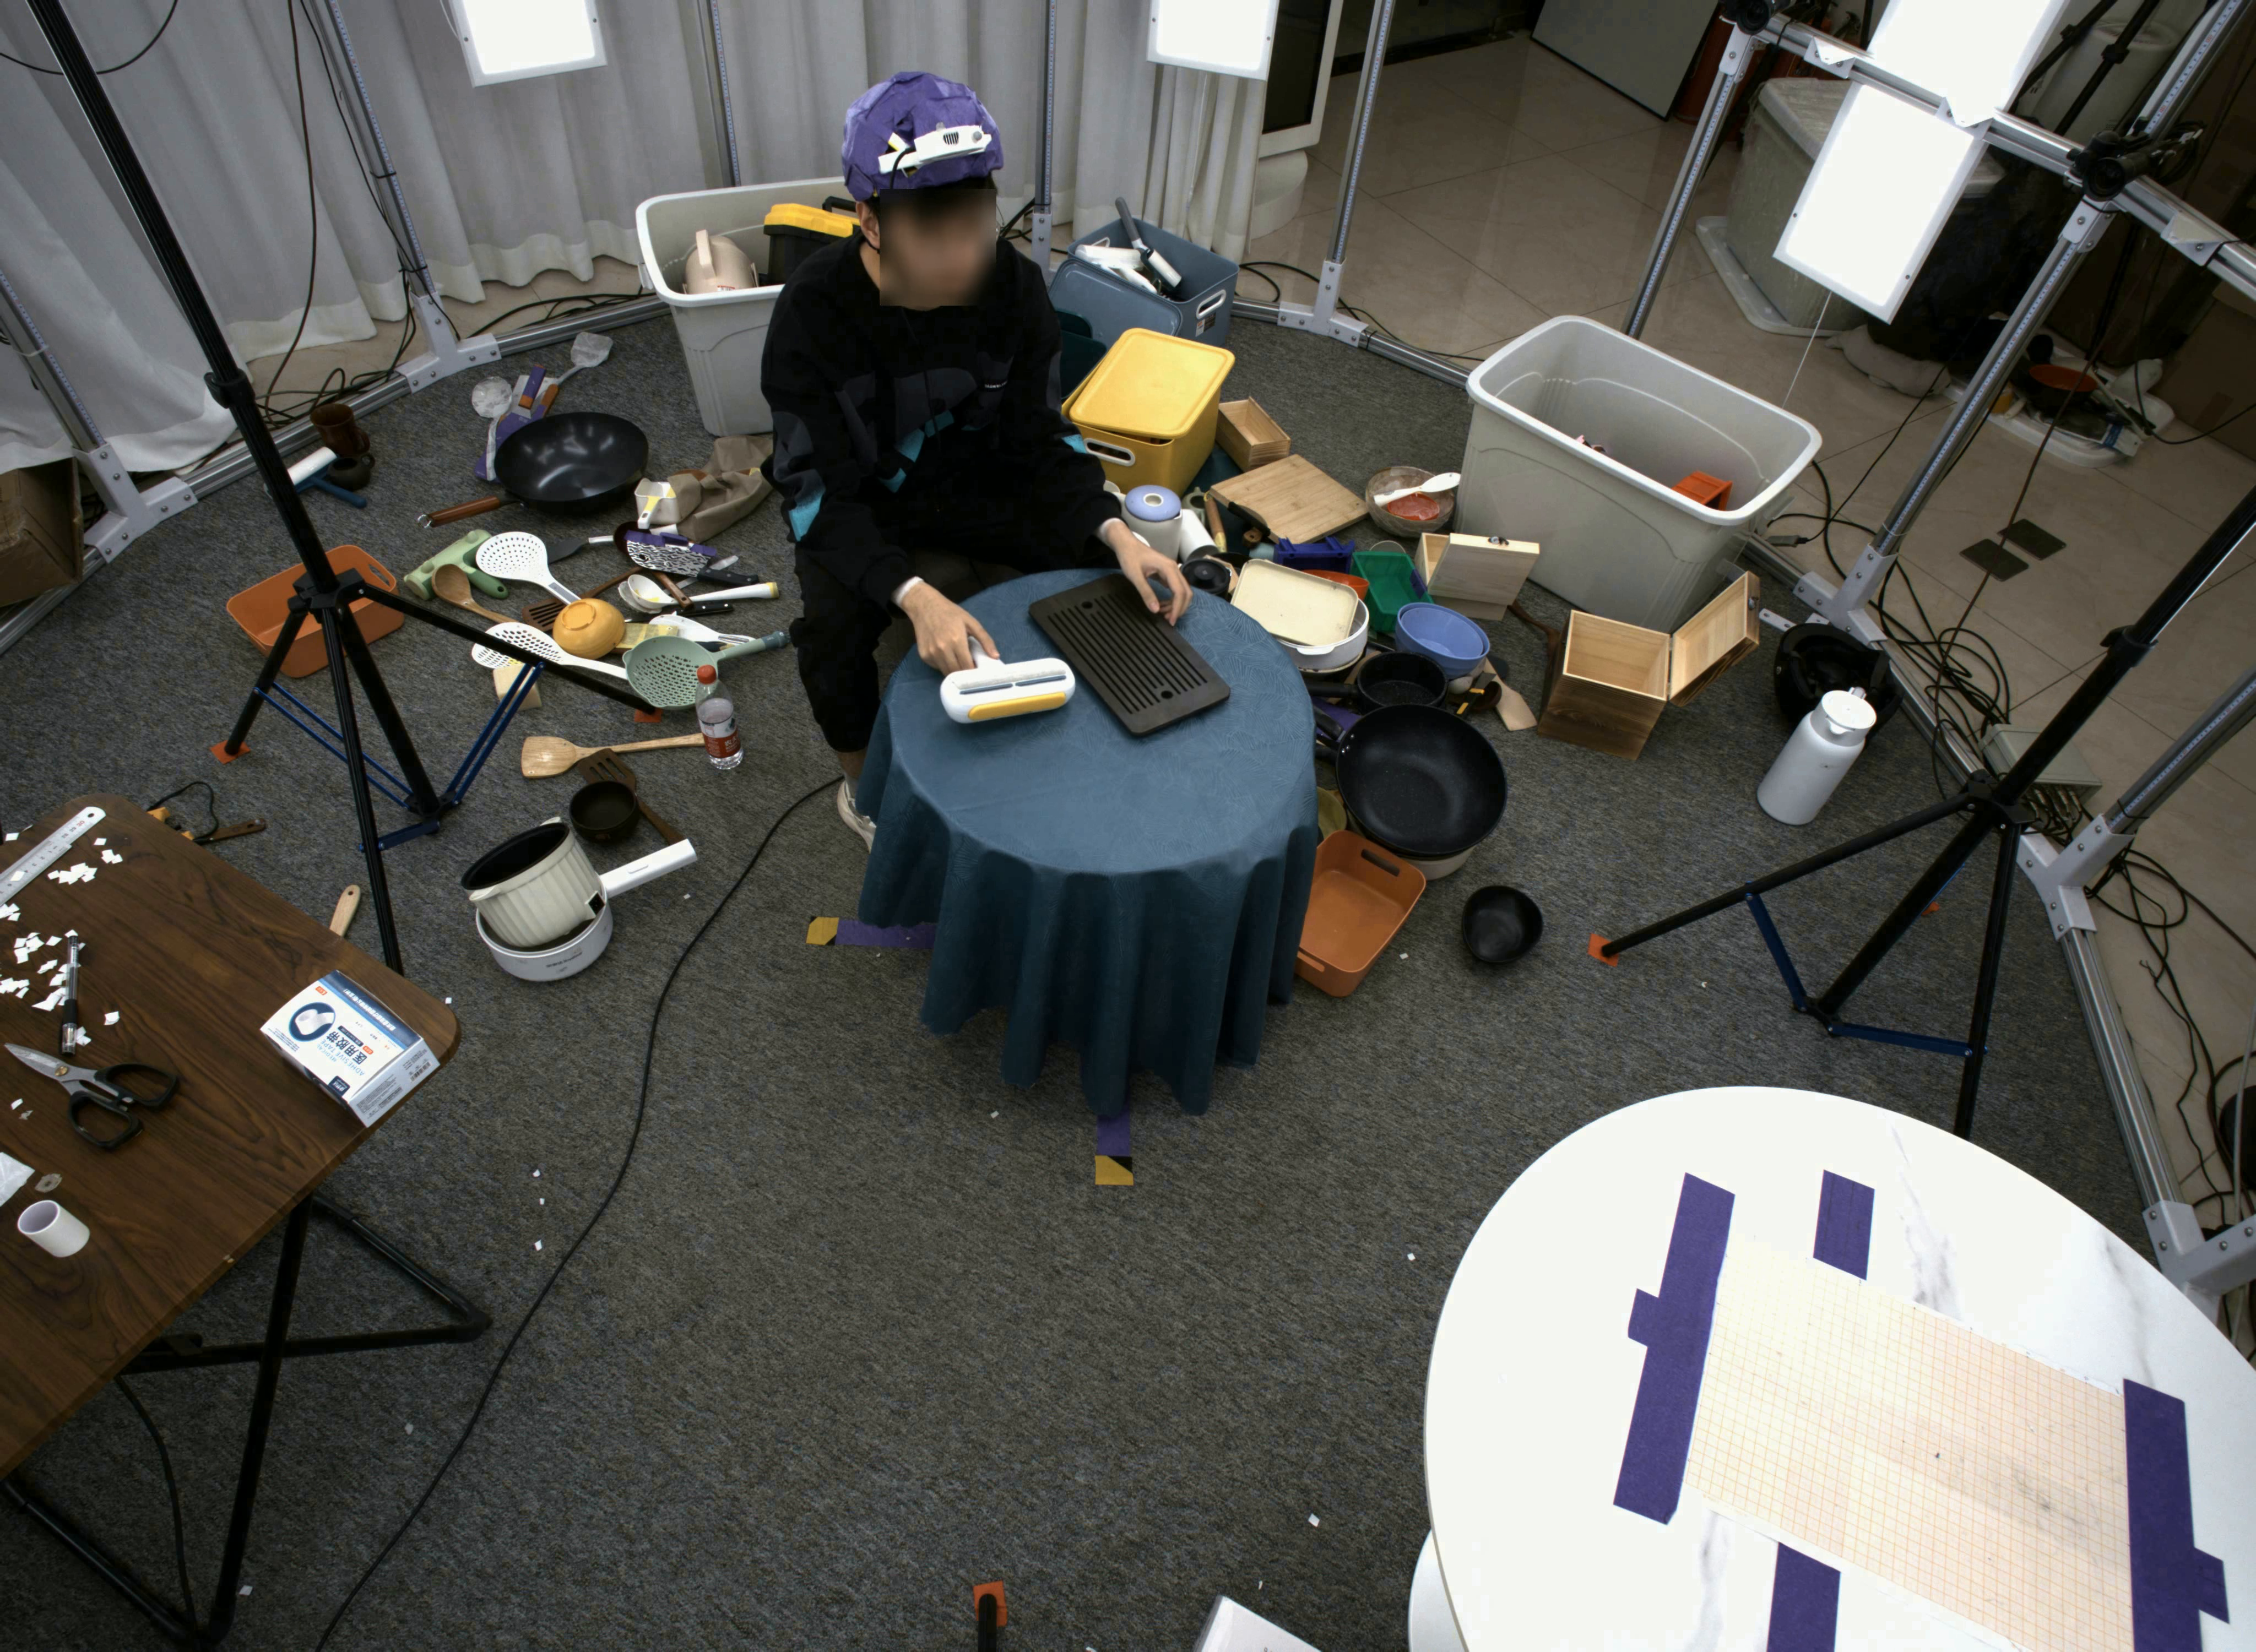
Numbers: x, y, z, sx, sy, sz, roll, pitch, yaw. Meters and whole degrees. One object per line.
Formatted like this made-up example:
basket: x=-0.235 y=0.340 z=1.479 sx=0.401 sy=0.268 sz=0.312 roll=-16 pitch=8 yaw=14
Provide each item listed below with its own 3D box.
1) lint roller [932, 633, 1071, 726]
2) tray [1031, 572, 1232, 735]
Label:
lint roller: x=-0.195 y=-0.221 z=1.804 sx=0.193 sy=0.072 sz=0.197 roll=-12 pitch=49 yaw=-21
tray: x=0.001 y=-0.256 z=1.879 sx=0.171 sy=0.018 sz=0.312 roll=-24 pitch=55 yaw=-22
